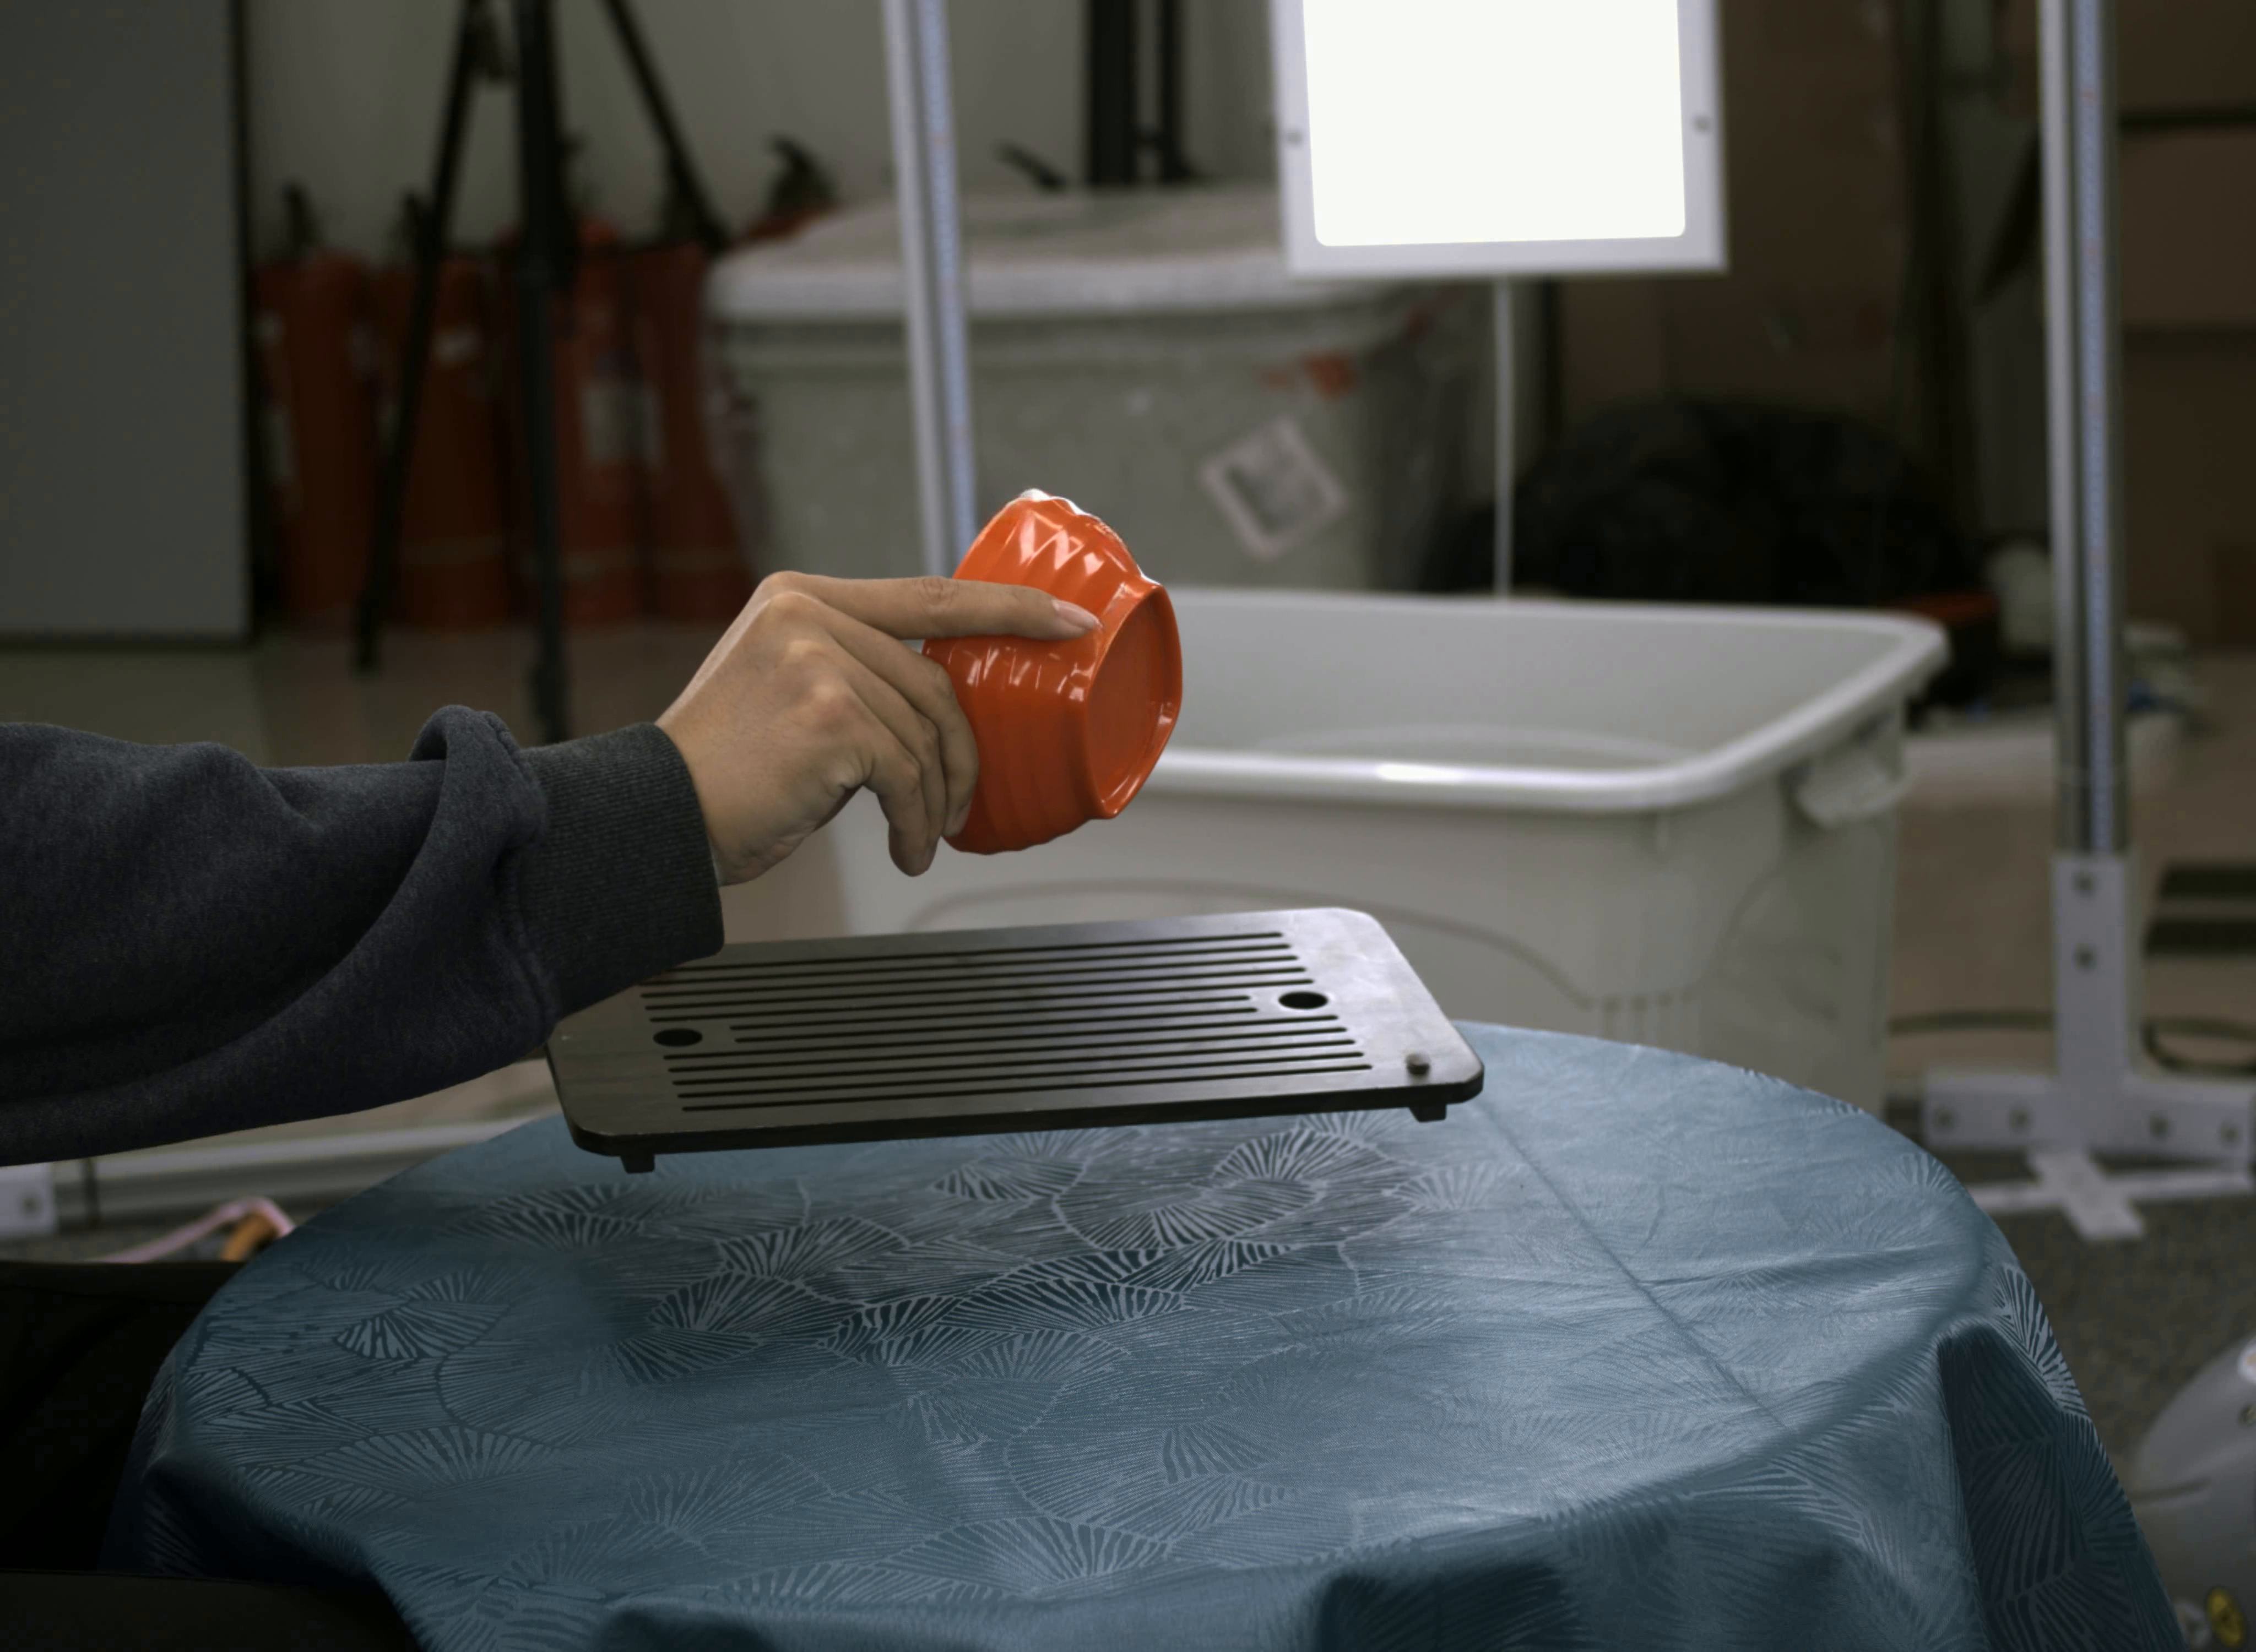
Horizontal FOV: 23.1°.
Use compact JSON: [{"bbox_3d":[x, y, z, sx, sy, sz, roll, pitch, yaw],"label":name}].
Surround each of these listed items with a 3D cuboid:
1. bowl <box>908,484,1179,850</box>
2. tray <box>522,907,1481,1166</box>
[{"bbox_3d":[-0.021,-0.045,1.747,0.052,0.120,0.116,16,21,23],"label":"bowl"},{"bbox_3d":[-0.046,0.070,1.862,0.302,0.019,0.171,-3,19,-10],"label":"tray"}]
